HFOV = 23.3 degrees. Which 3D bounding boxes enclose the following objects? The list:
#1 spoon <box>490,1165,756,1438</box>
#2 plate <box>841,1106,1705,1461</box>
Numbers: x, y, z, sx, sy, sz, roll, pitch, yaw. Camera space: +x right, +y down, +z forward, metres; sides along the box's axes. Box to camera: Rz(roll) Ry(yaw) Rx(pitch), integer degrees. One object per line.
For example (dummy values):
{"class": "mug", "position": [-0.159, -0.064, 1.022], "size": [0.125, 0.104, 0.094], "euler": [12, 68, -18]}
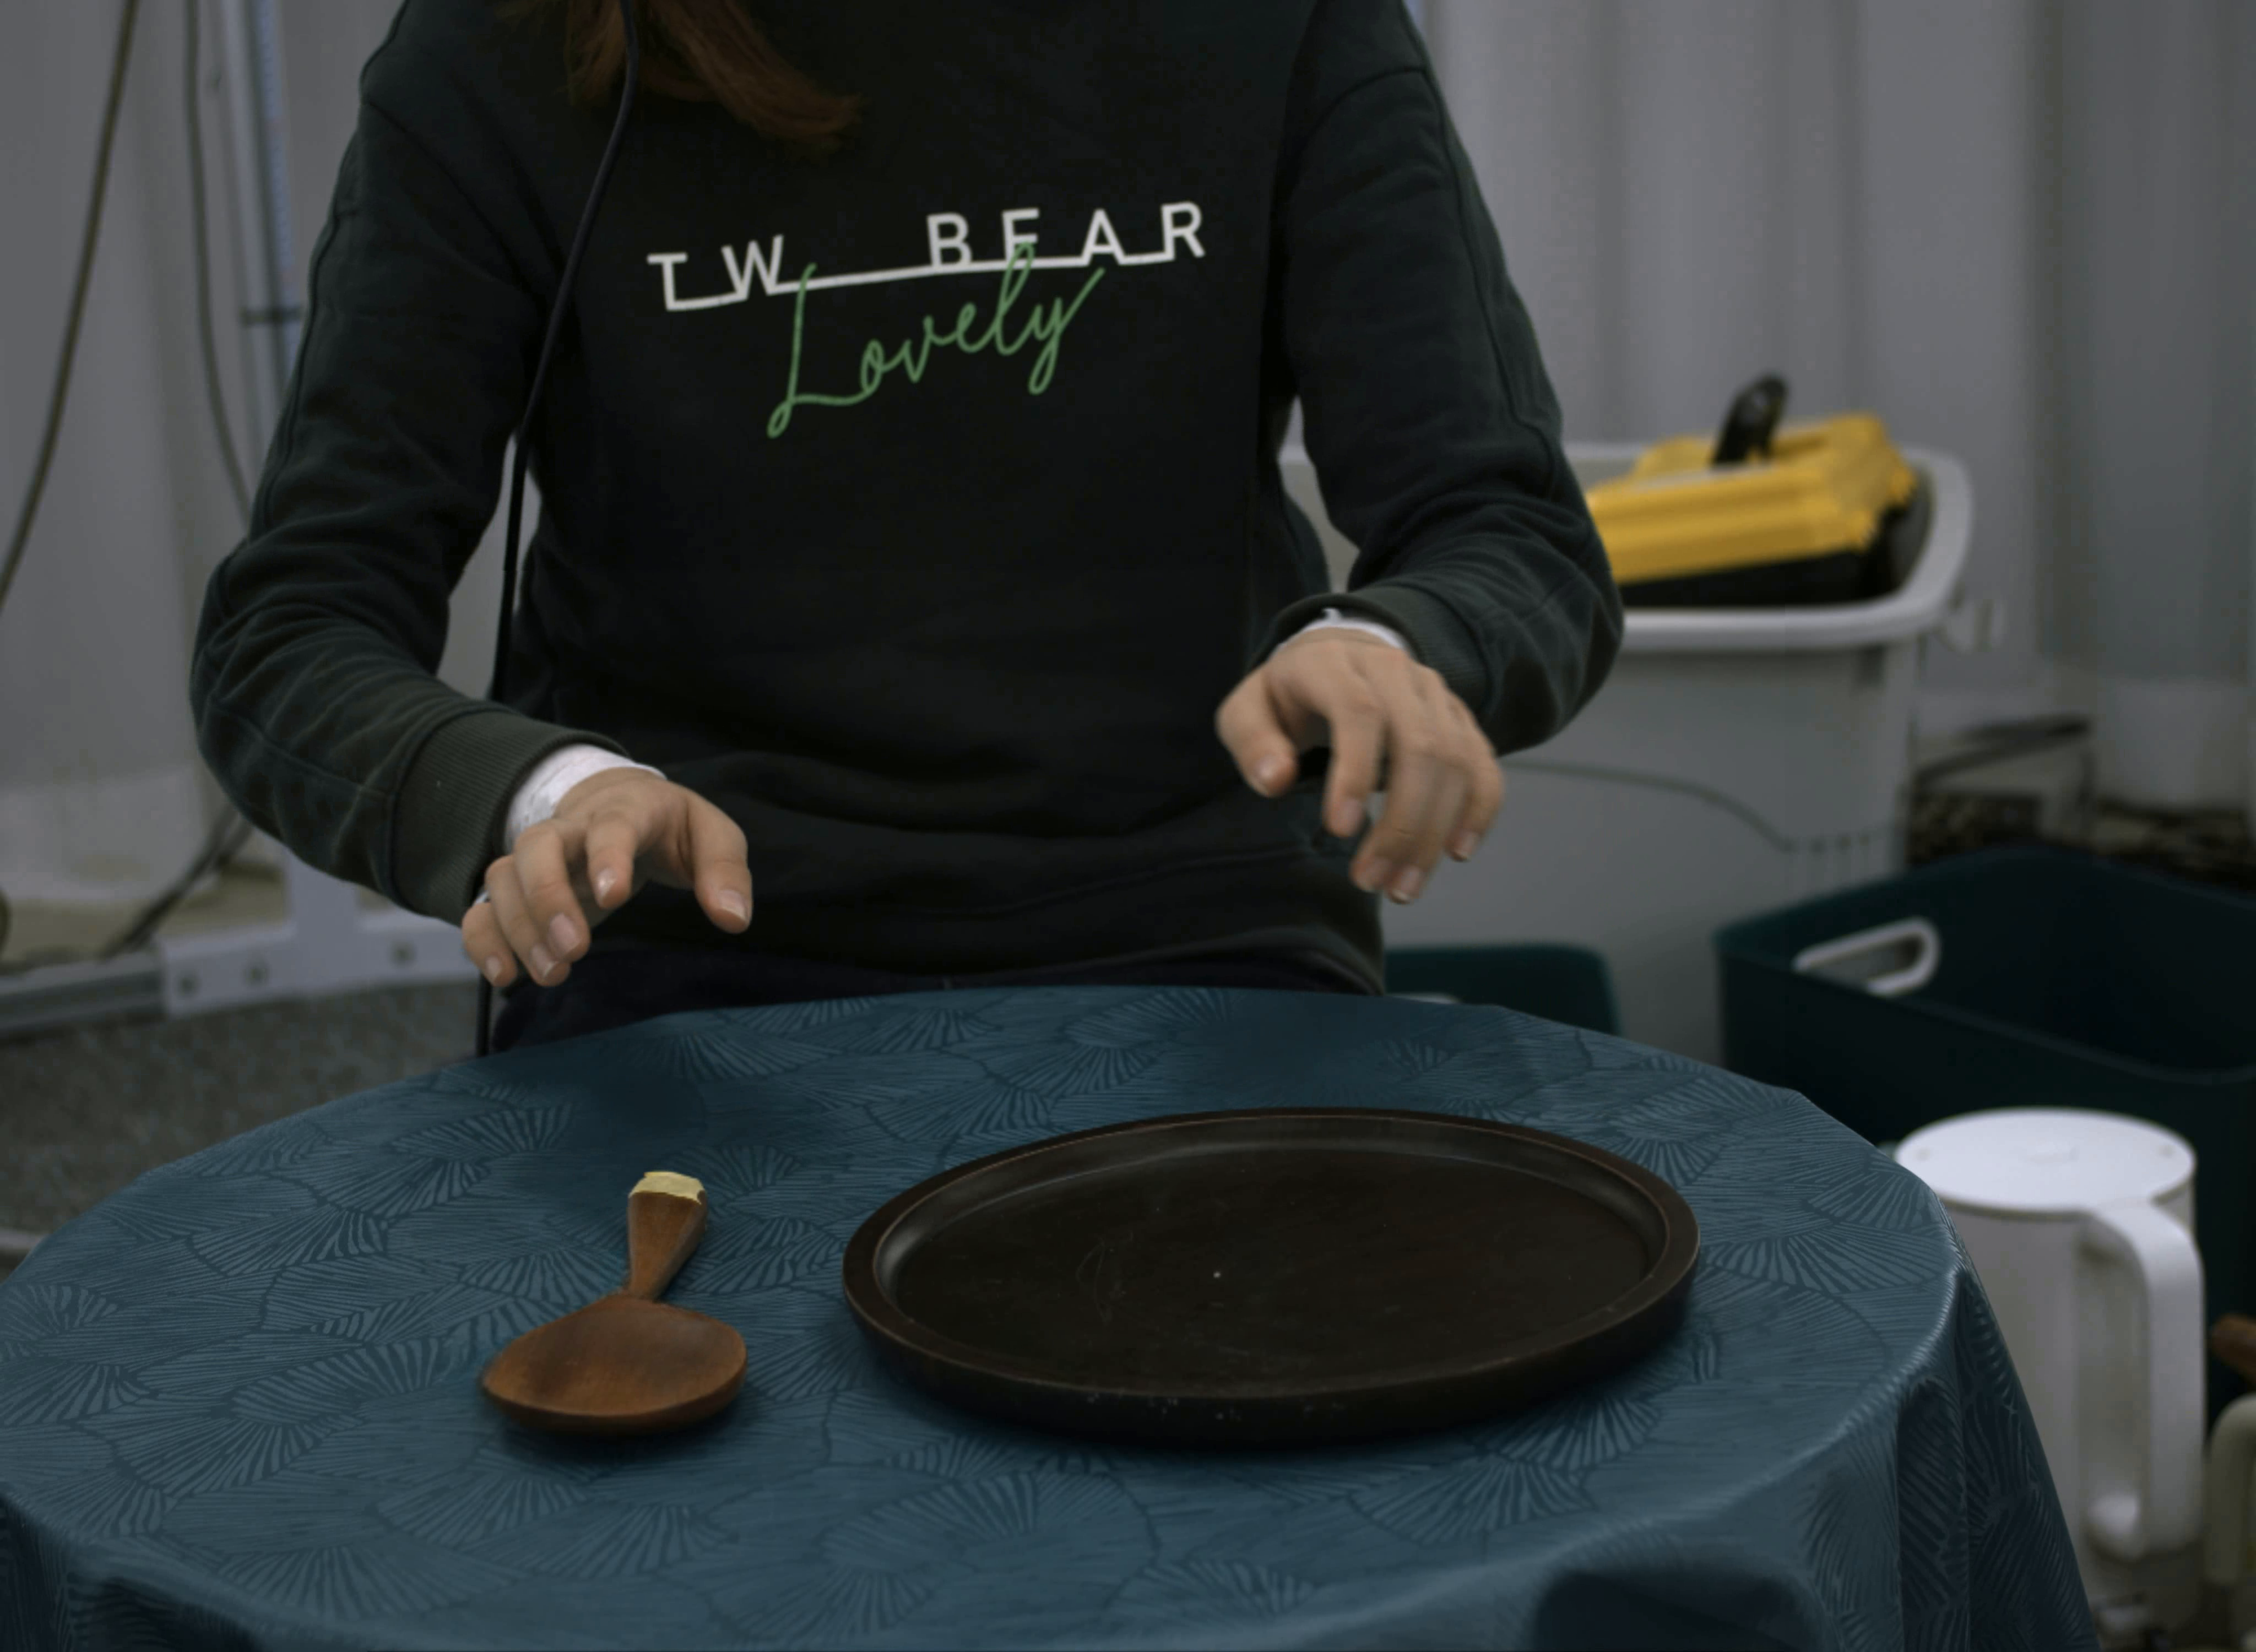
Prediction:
{"class": "spoon", "position": [-0.143, 0.141, 1.609], "size": [0.075, 0.017, 0.217], "euler": [-3, 15, 1]}
{"class": "plate", "position": [0.042, 0.132, 1.600], "size": [0.254, 0.029, 0.256], "euler": [-2, 16, 0]}
